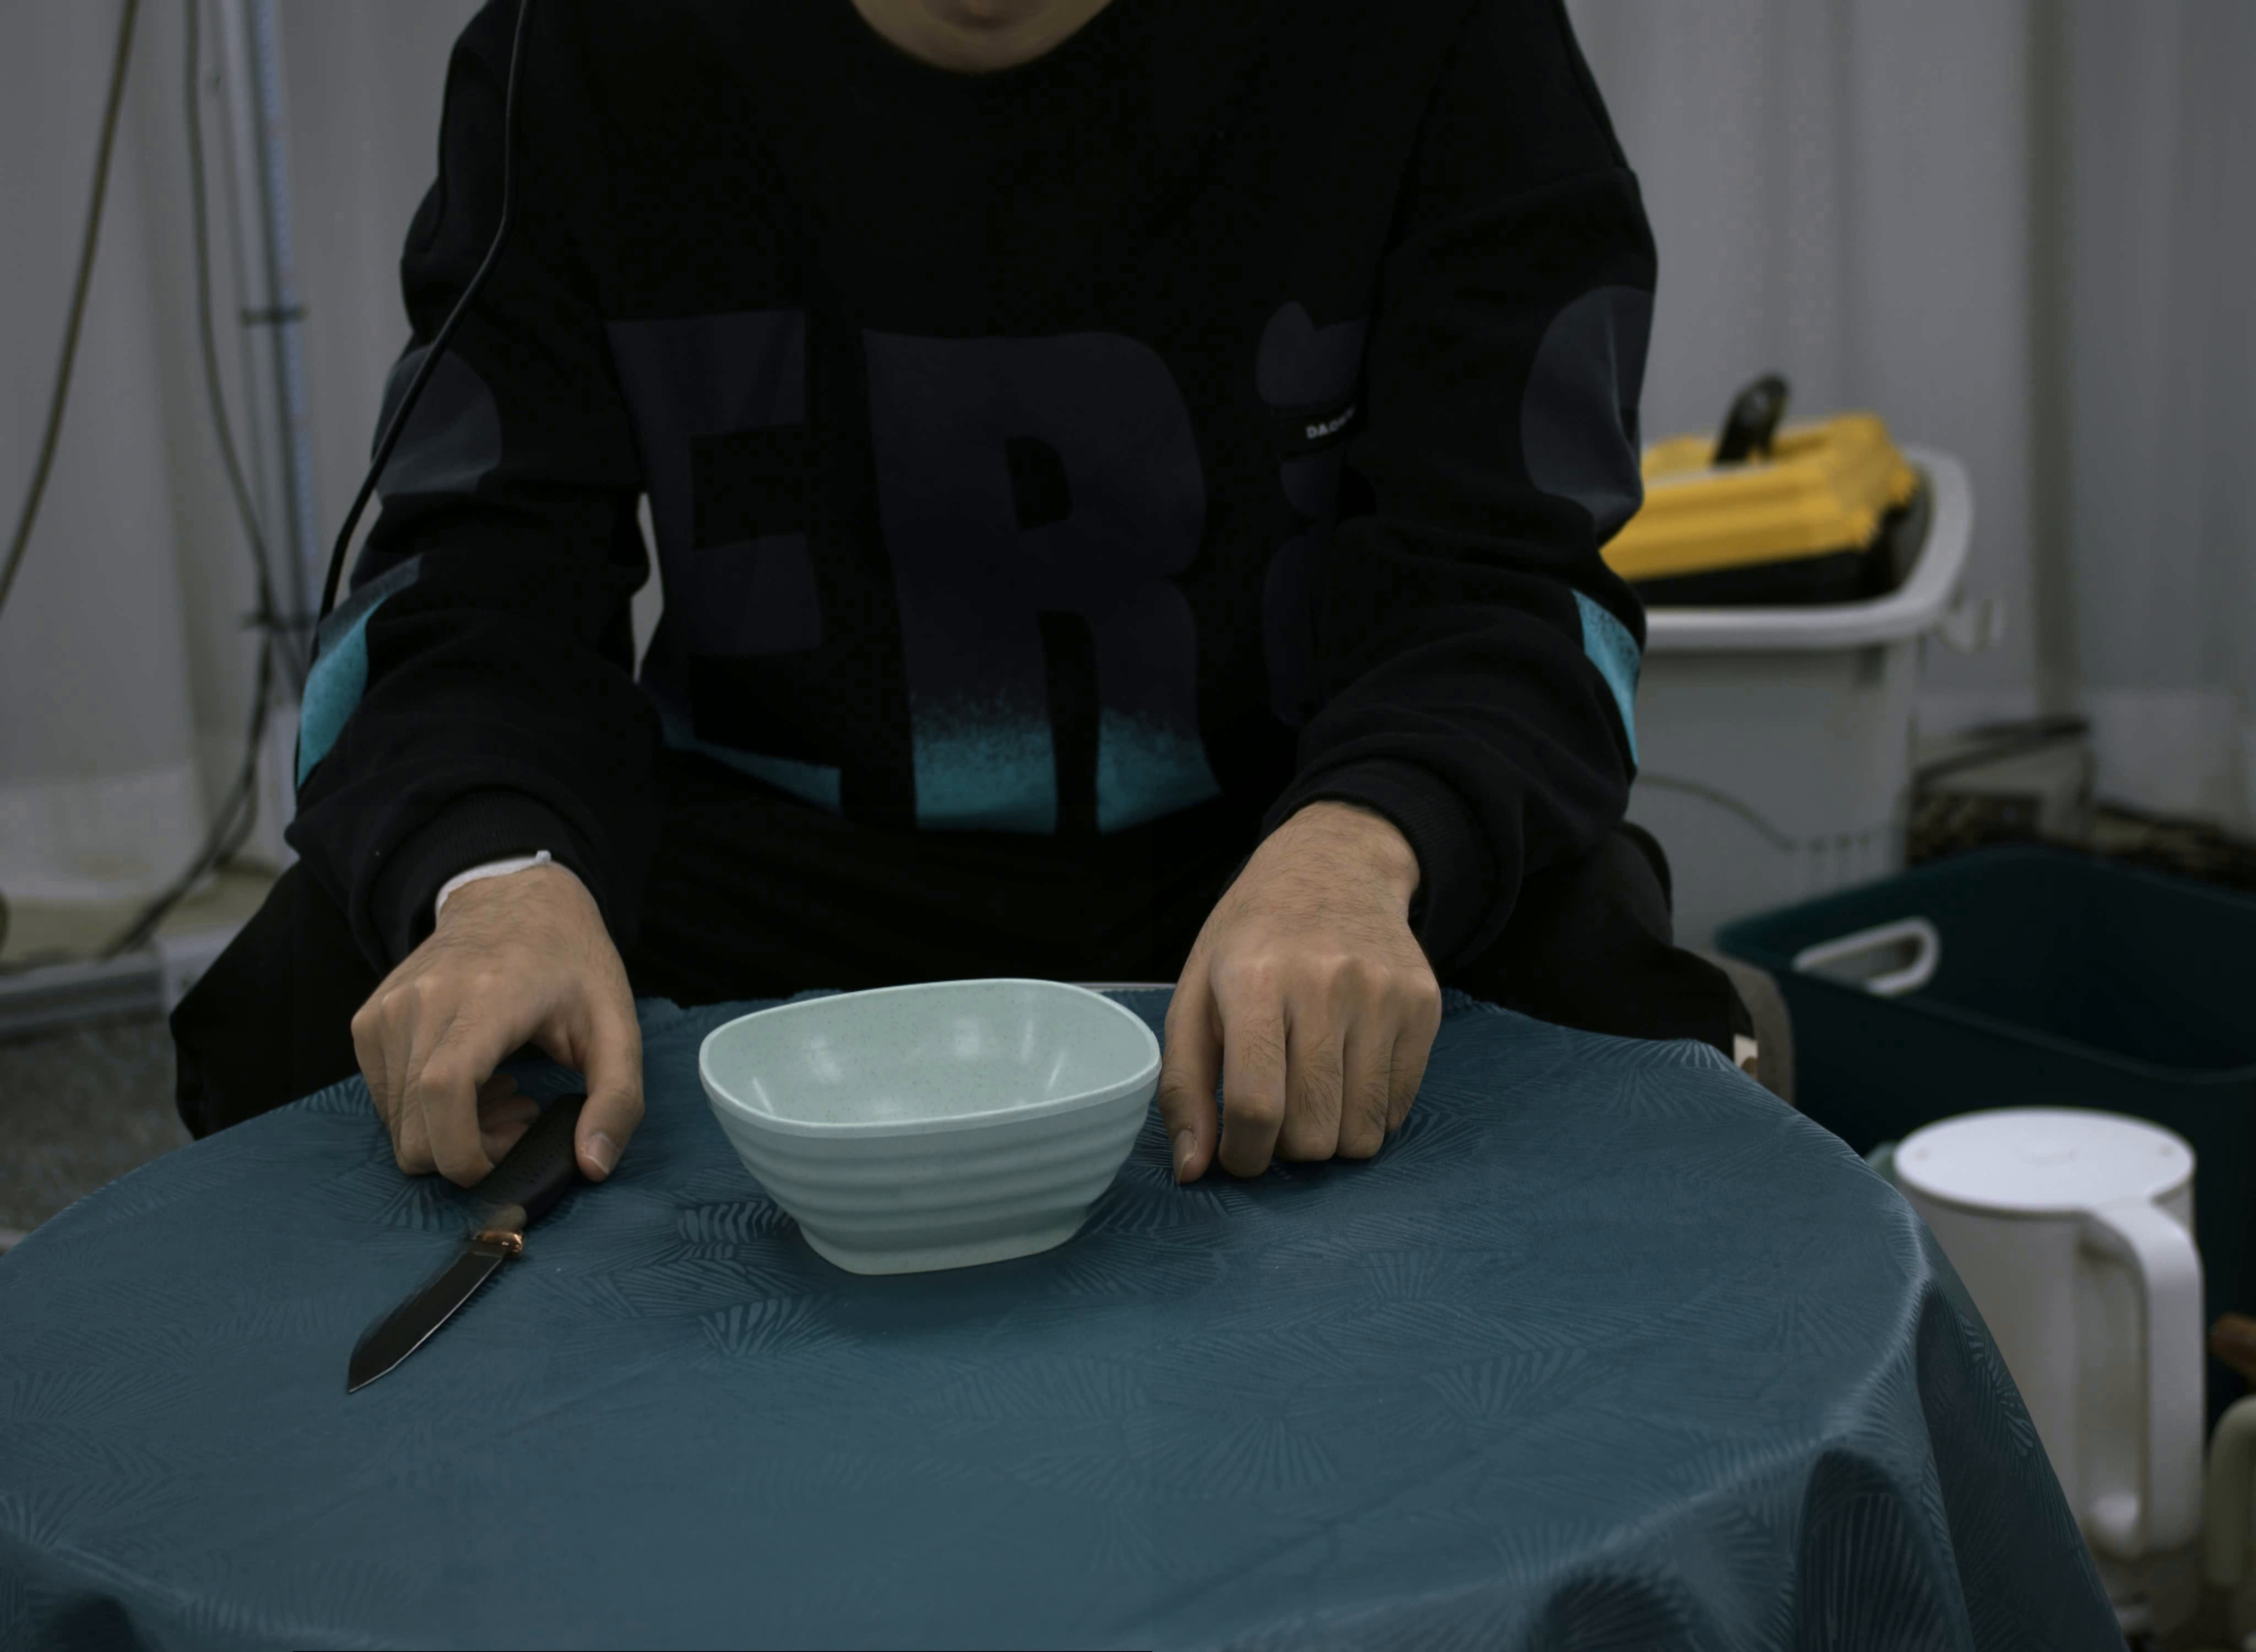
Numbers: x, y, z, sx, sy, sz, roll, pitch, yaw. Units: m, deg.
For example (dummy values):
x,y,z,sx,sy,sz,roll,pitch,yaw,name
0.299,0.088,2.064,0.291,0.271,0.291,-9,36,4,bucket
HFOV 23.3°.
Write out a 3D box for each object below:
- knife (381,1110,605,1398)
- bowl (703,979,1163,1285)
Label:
x,y,z,sx,sy,sz,roll,pitch,yaw,name
-0.197,0.130,1.677,0.026,0.017,0.227,6,18,9,knife
-0.058,0.097,1.686,0.151,0.058,0.152,-4,16,1,bowl
